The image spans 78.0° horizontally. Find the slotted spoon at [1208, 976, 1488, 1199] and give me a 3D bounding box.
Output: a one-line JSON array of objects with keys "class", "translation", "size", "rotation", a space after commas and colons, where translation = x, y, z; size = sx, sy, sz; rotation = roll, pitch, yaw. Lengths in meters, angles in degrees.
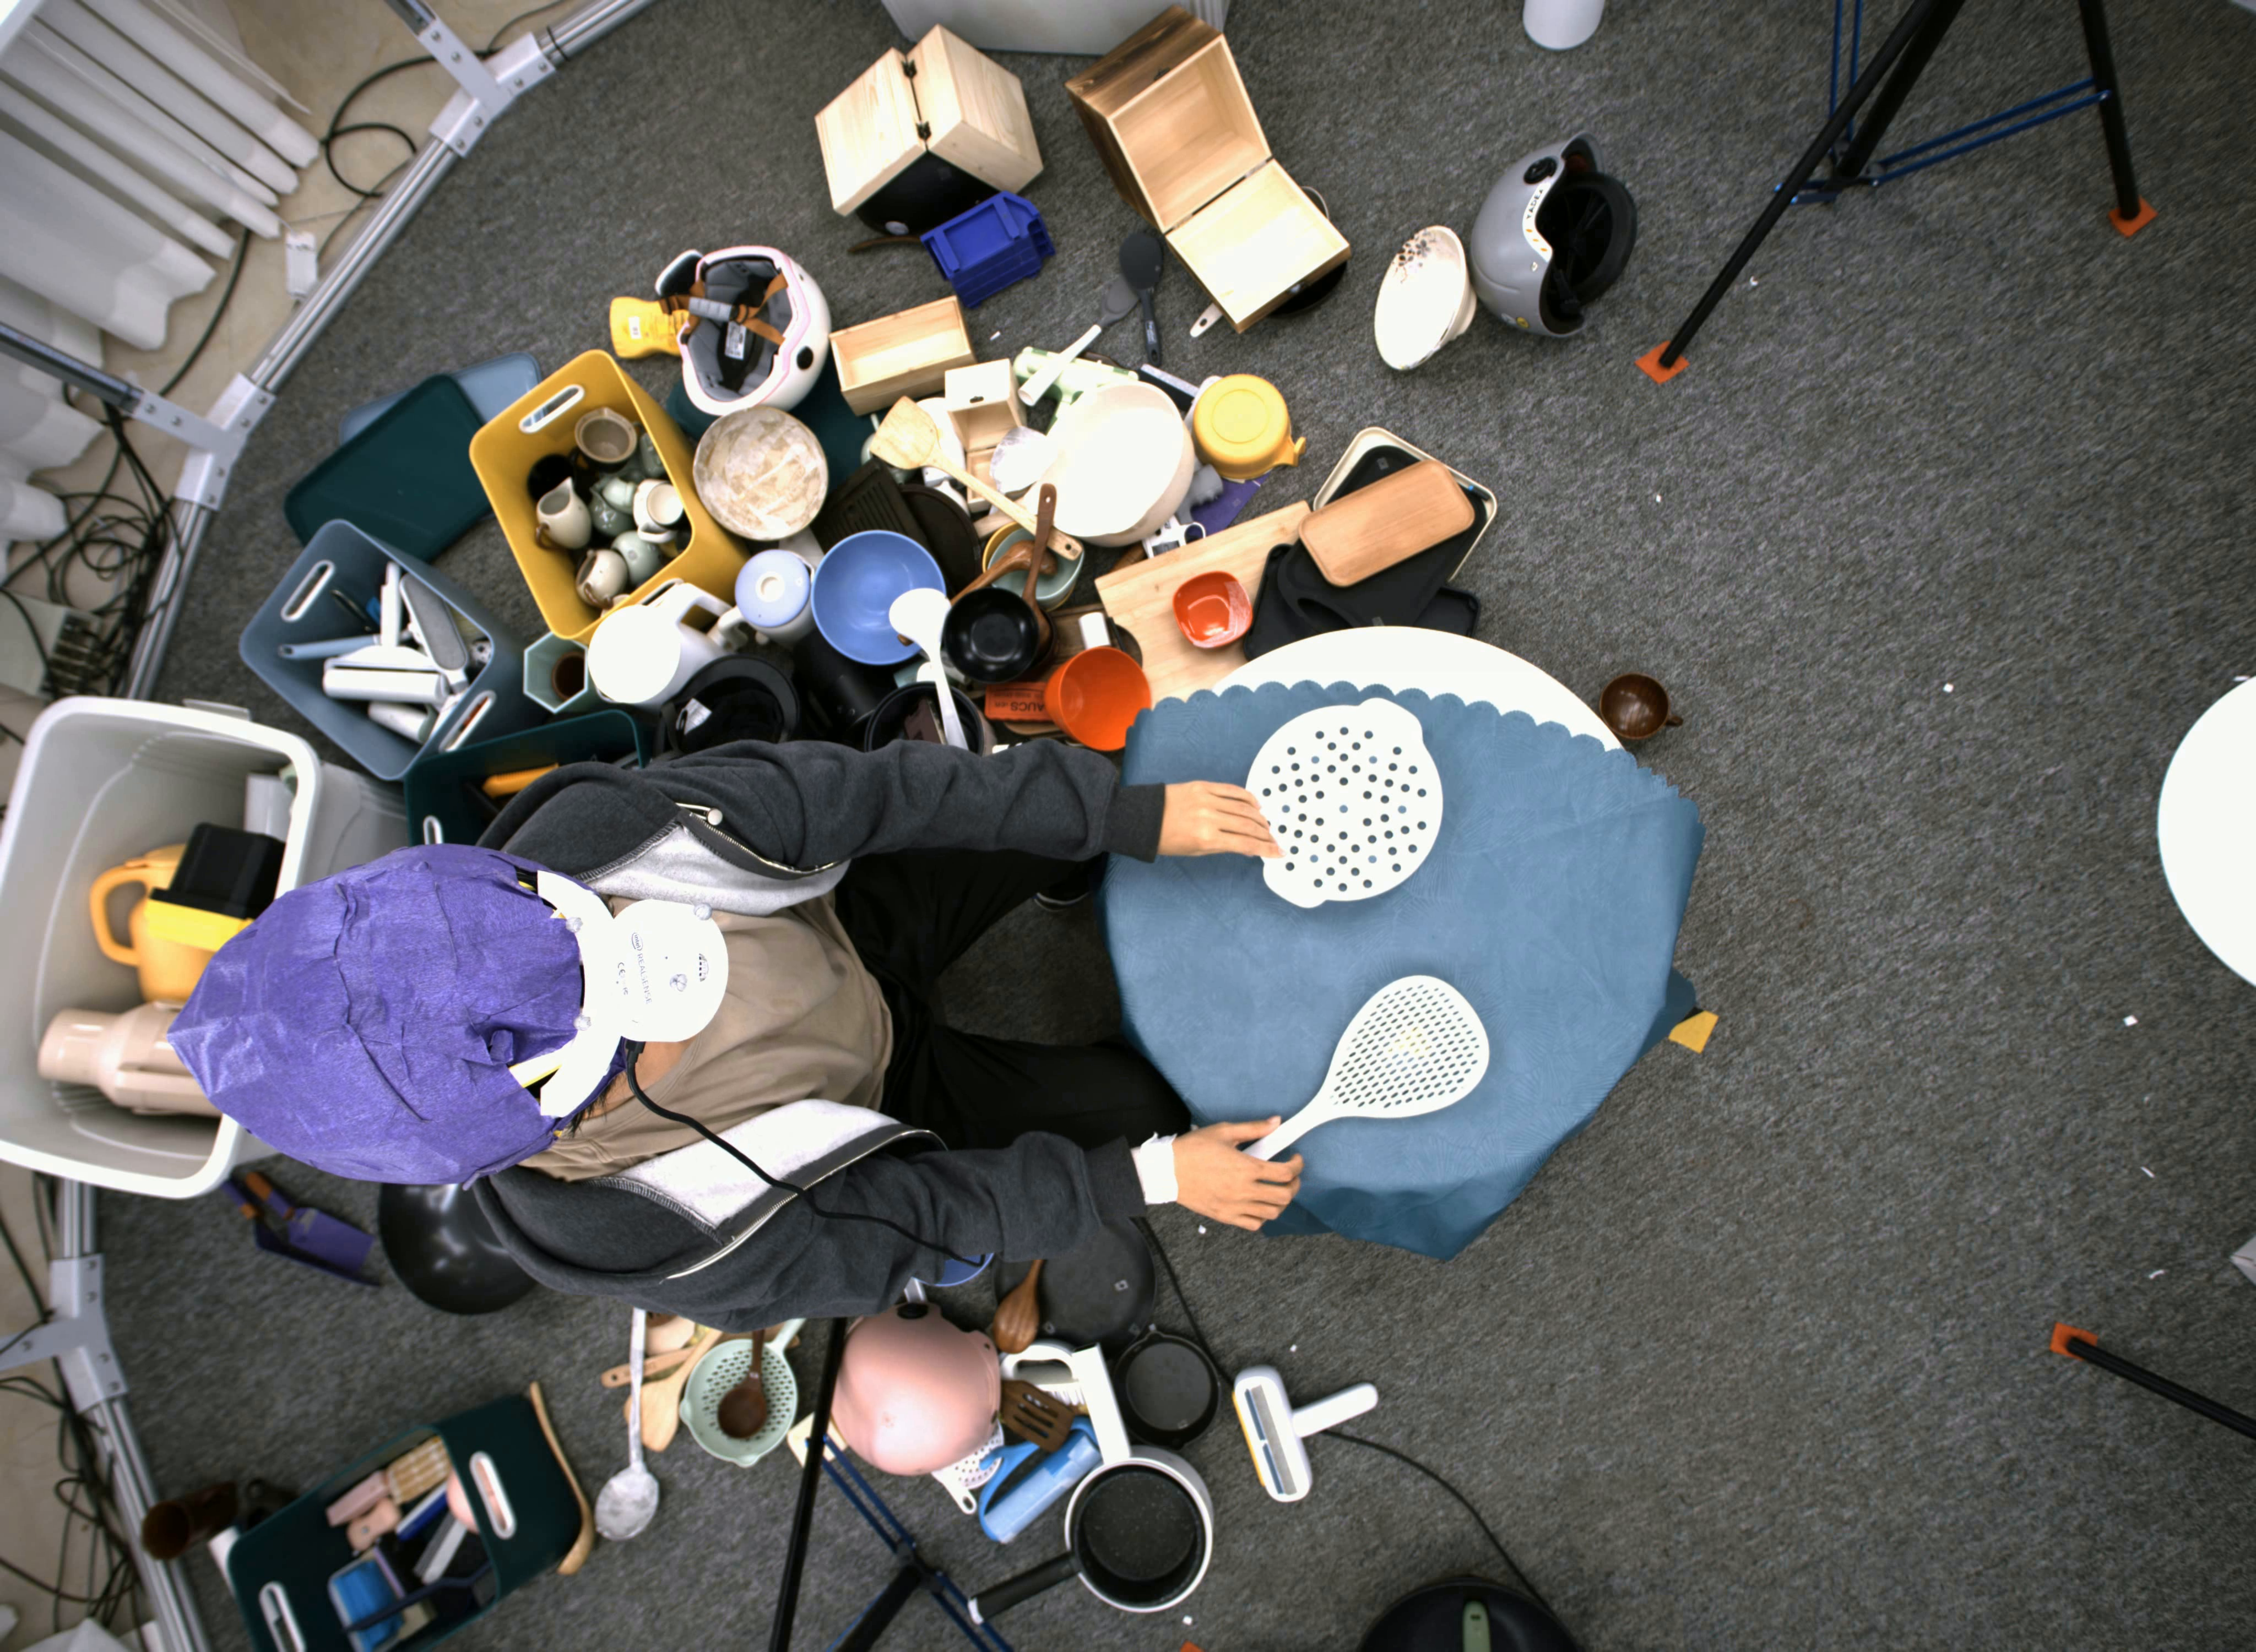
[{"class": "slotted spoon", "translation": [0.214, 0.286, 1.446], "size": [0.351, 0.050, 0.136], "rotation": [-38, 86, 12]}]

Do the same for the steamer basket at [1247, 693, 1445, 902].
[{"class": "steamer basket", "translation": [0.226, -0.027, 1.439], "size": [0.201, 0.069, 0.230], "rotation": [31, 90, 11]}]
